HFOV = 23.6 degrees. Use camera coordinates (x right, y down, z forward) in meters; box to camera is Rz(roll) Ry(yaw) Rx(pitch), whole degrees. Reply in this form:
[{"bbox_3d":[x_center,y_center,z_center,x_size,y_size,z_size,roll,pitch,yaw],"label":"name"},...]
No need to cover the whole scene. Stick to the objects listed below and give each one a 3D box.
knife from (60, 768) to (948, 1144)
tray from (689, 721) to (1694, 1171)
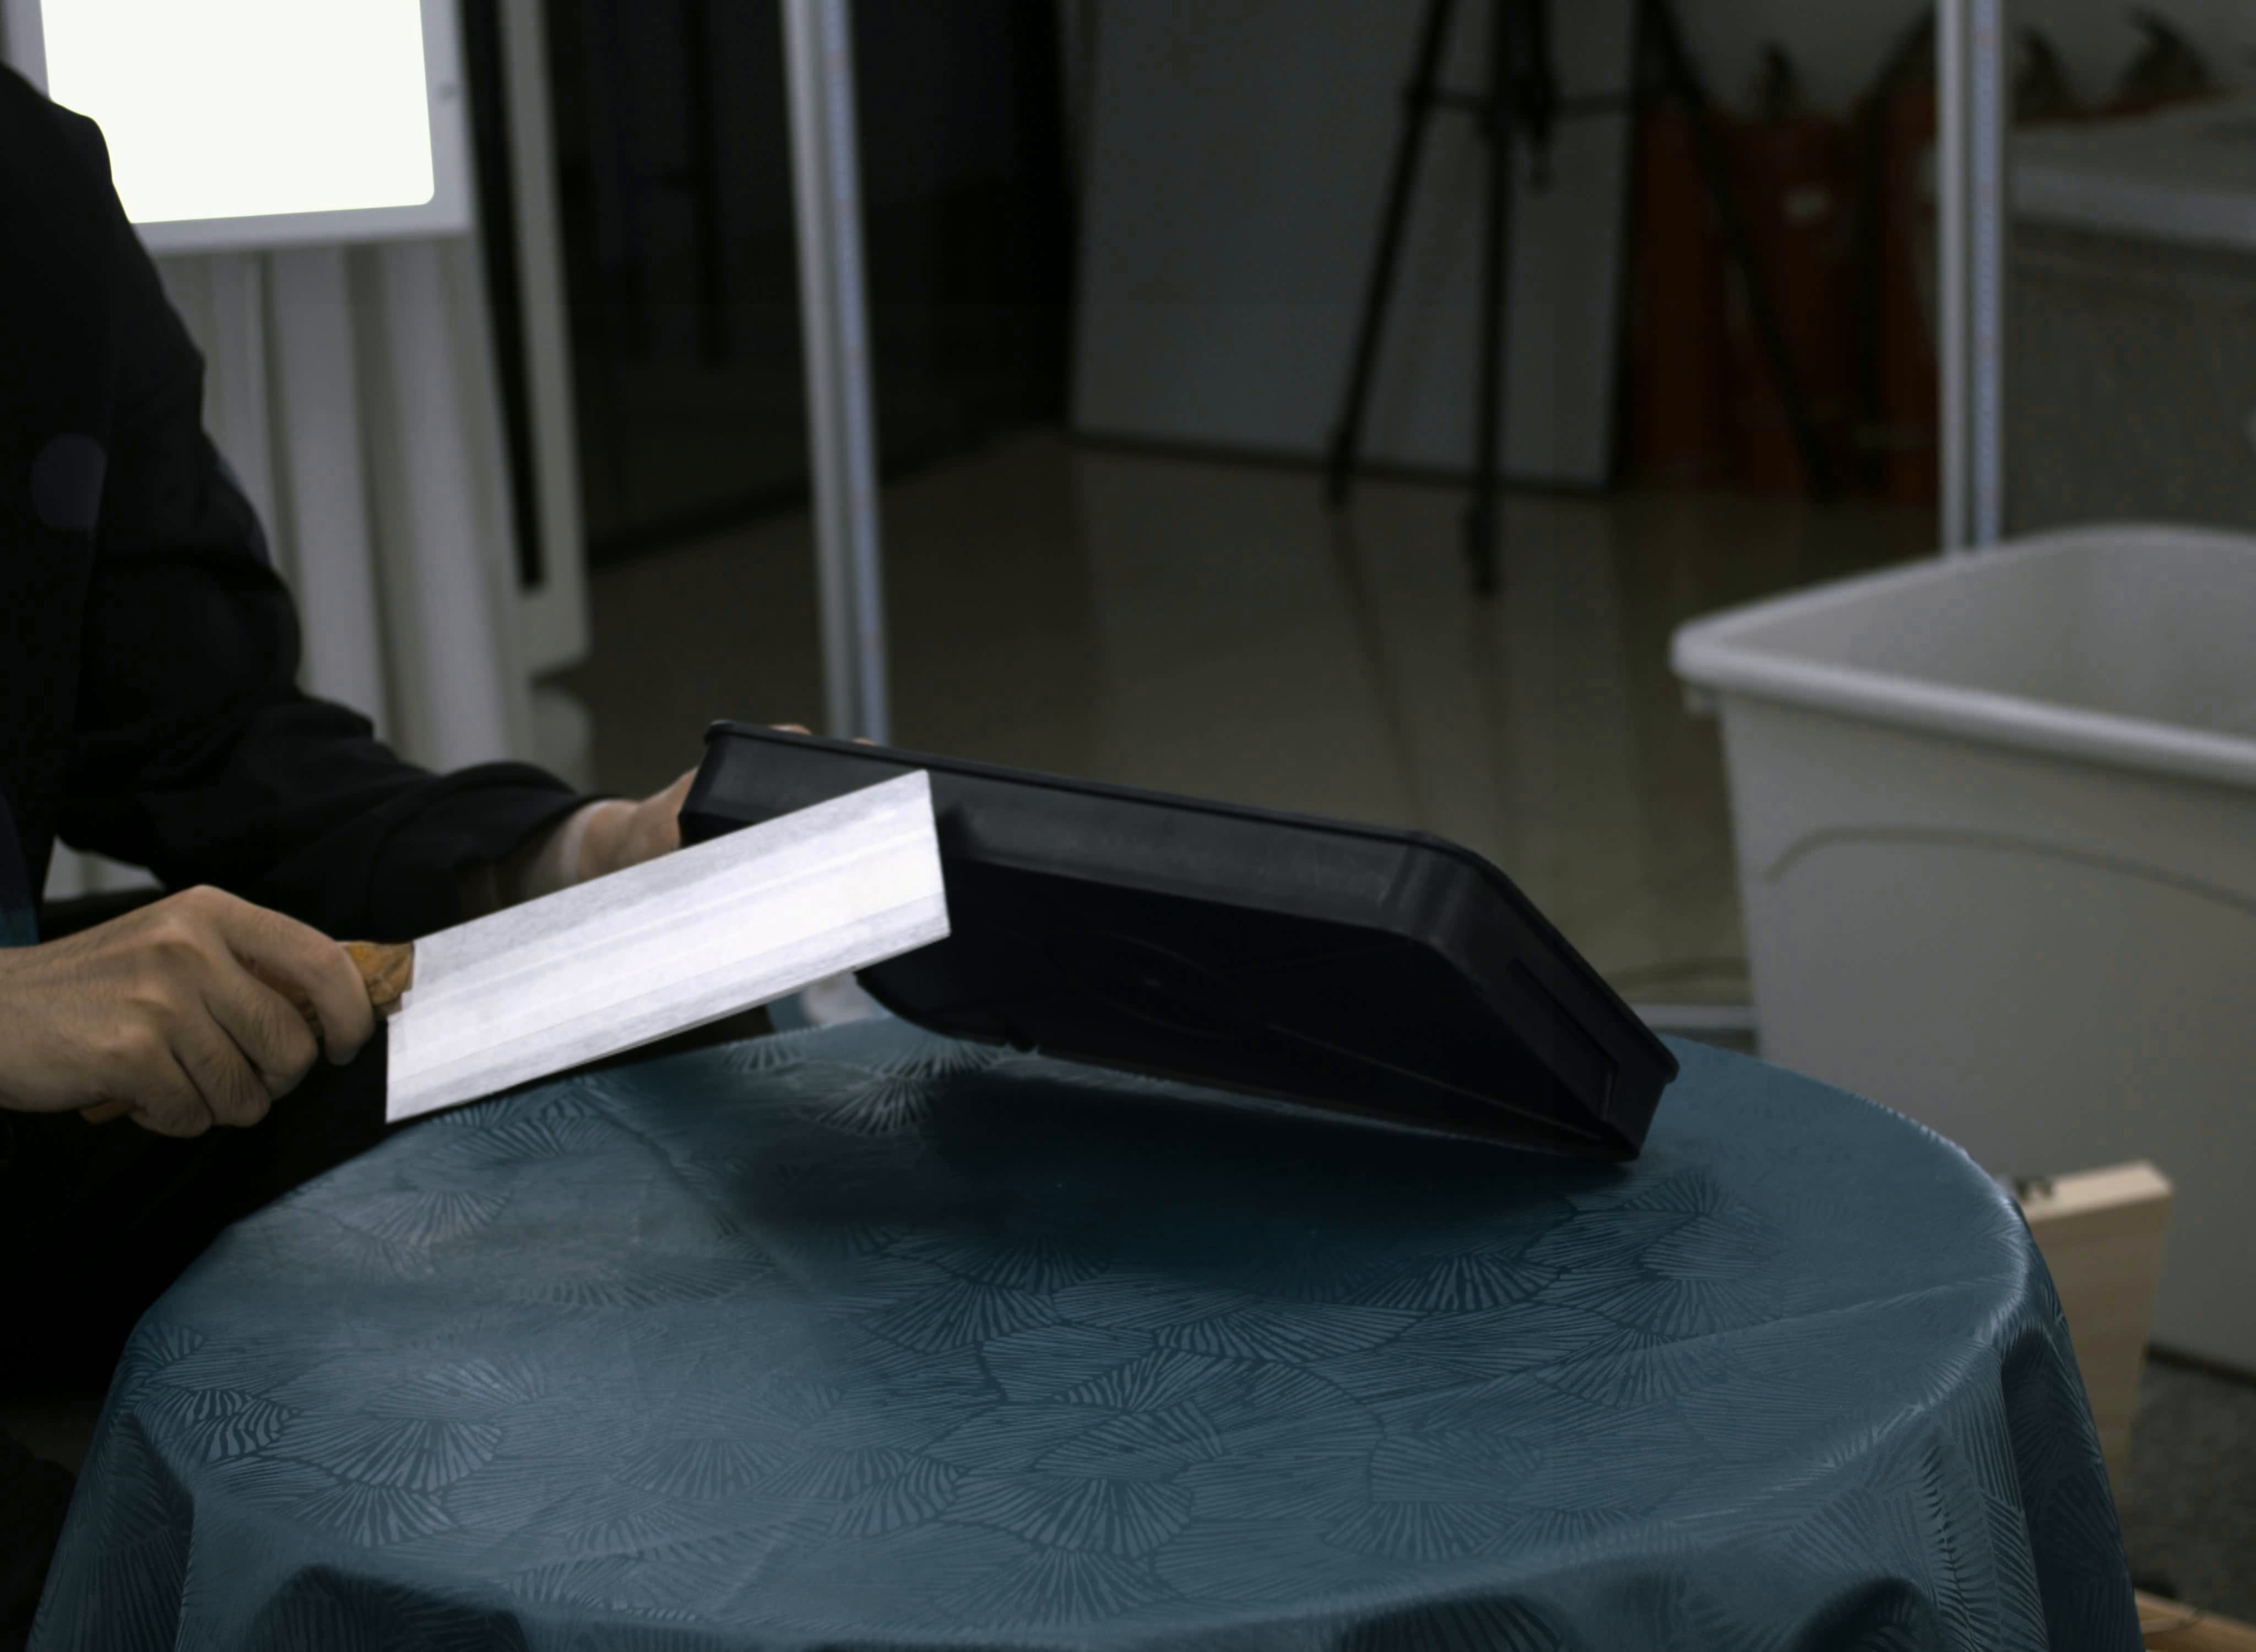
[{"bbox_3d":[-0.201,0.055,1.728,0.303,0.021,0.094,-19,36,7],"label":"knife"},{"bbox_3d":[0.018,0.039,1.783,0.320,0.037,0.182,9,-22,34],"label":"tray"}]
